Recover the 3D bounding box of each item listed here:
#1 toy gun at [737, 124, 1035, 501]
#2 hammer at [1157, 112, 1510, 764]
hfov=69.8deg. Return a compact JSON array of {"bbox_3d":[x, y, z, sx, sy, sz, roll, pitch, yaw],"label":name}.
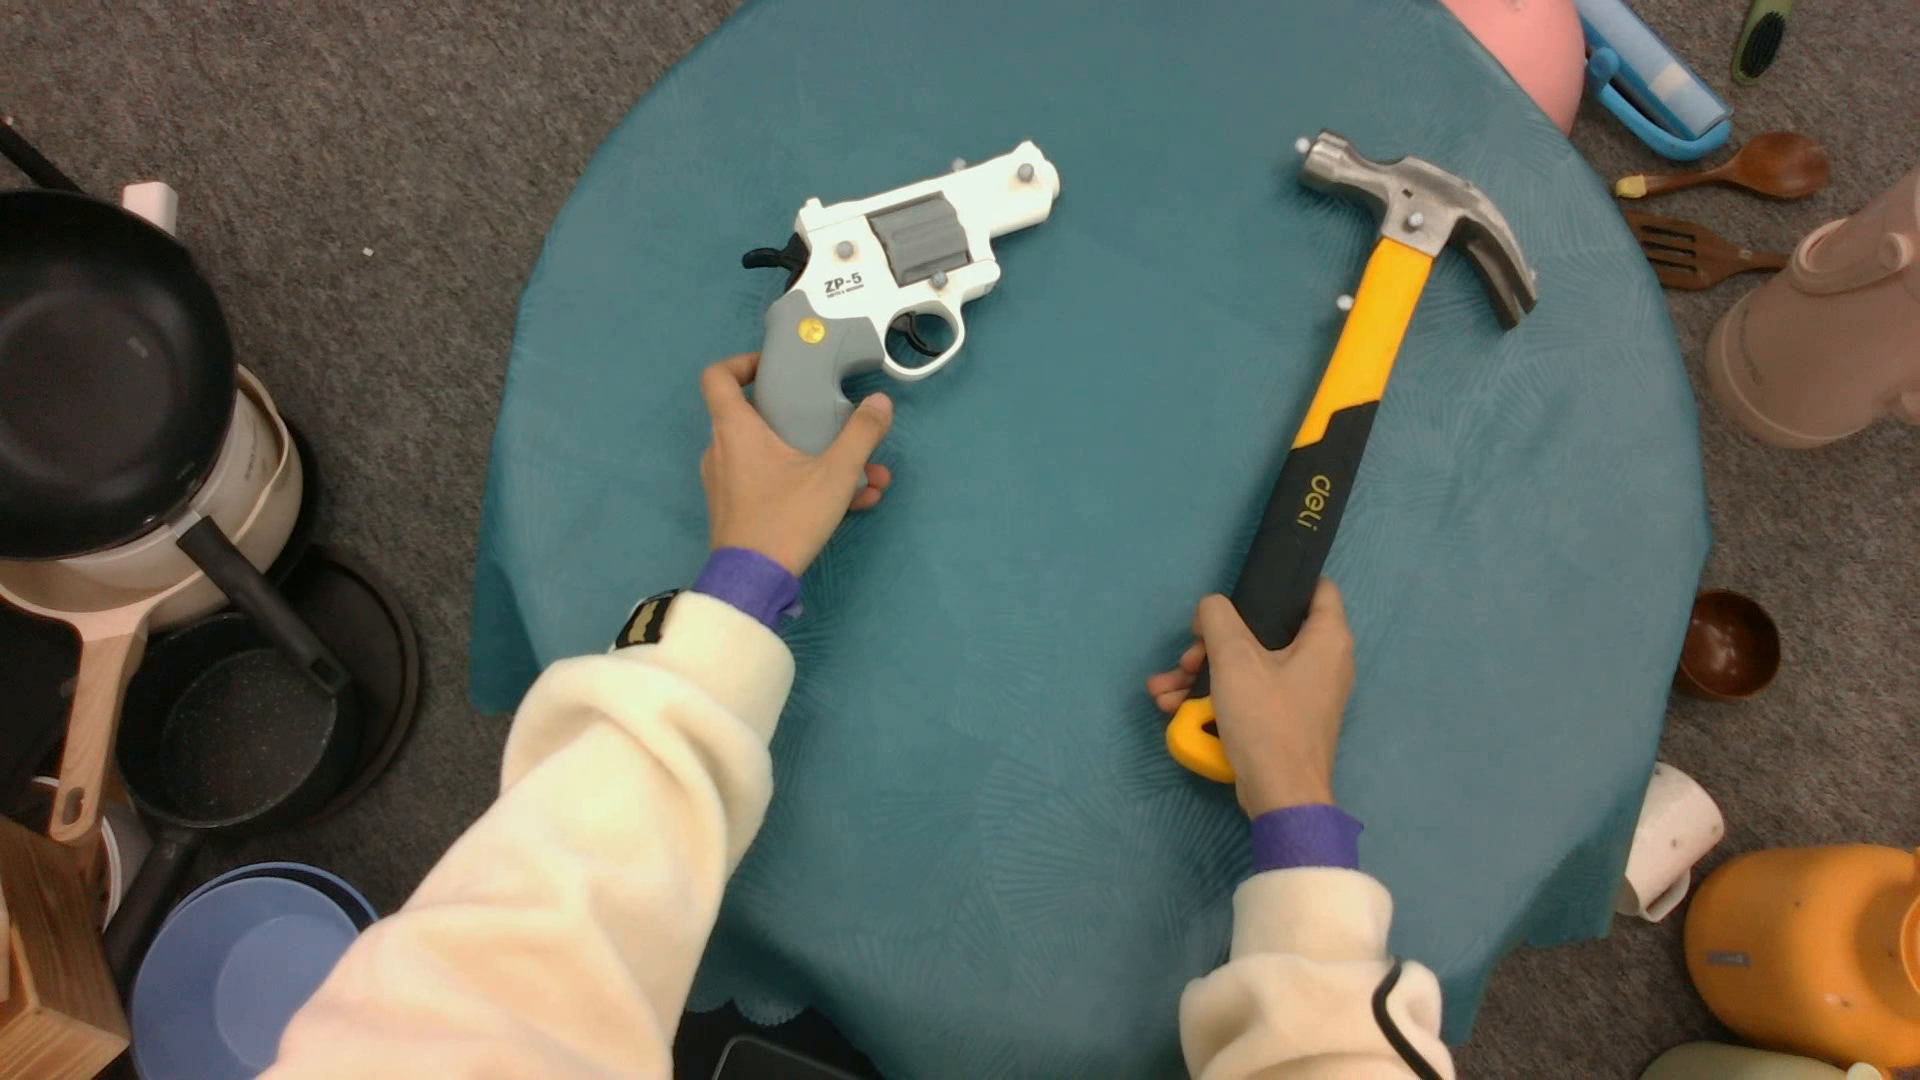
[{"bbox_3d":[-0.032,-0.115,0.671,0.210,0.038,0.142,-25,82,-19],"label":"toy gun"},{"bbox_3d":[0.168,-0.052,0.661,0.131,0.032,0.339,24,70,1],"label":"hammer"}]
